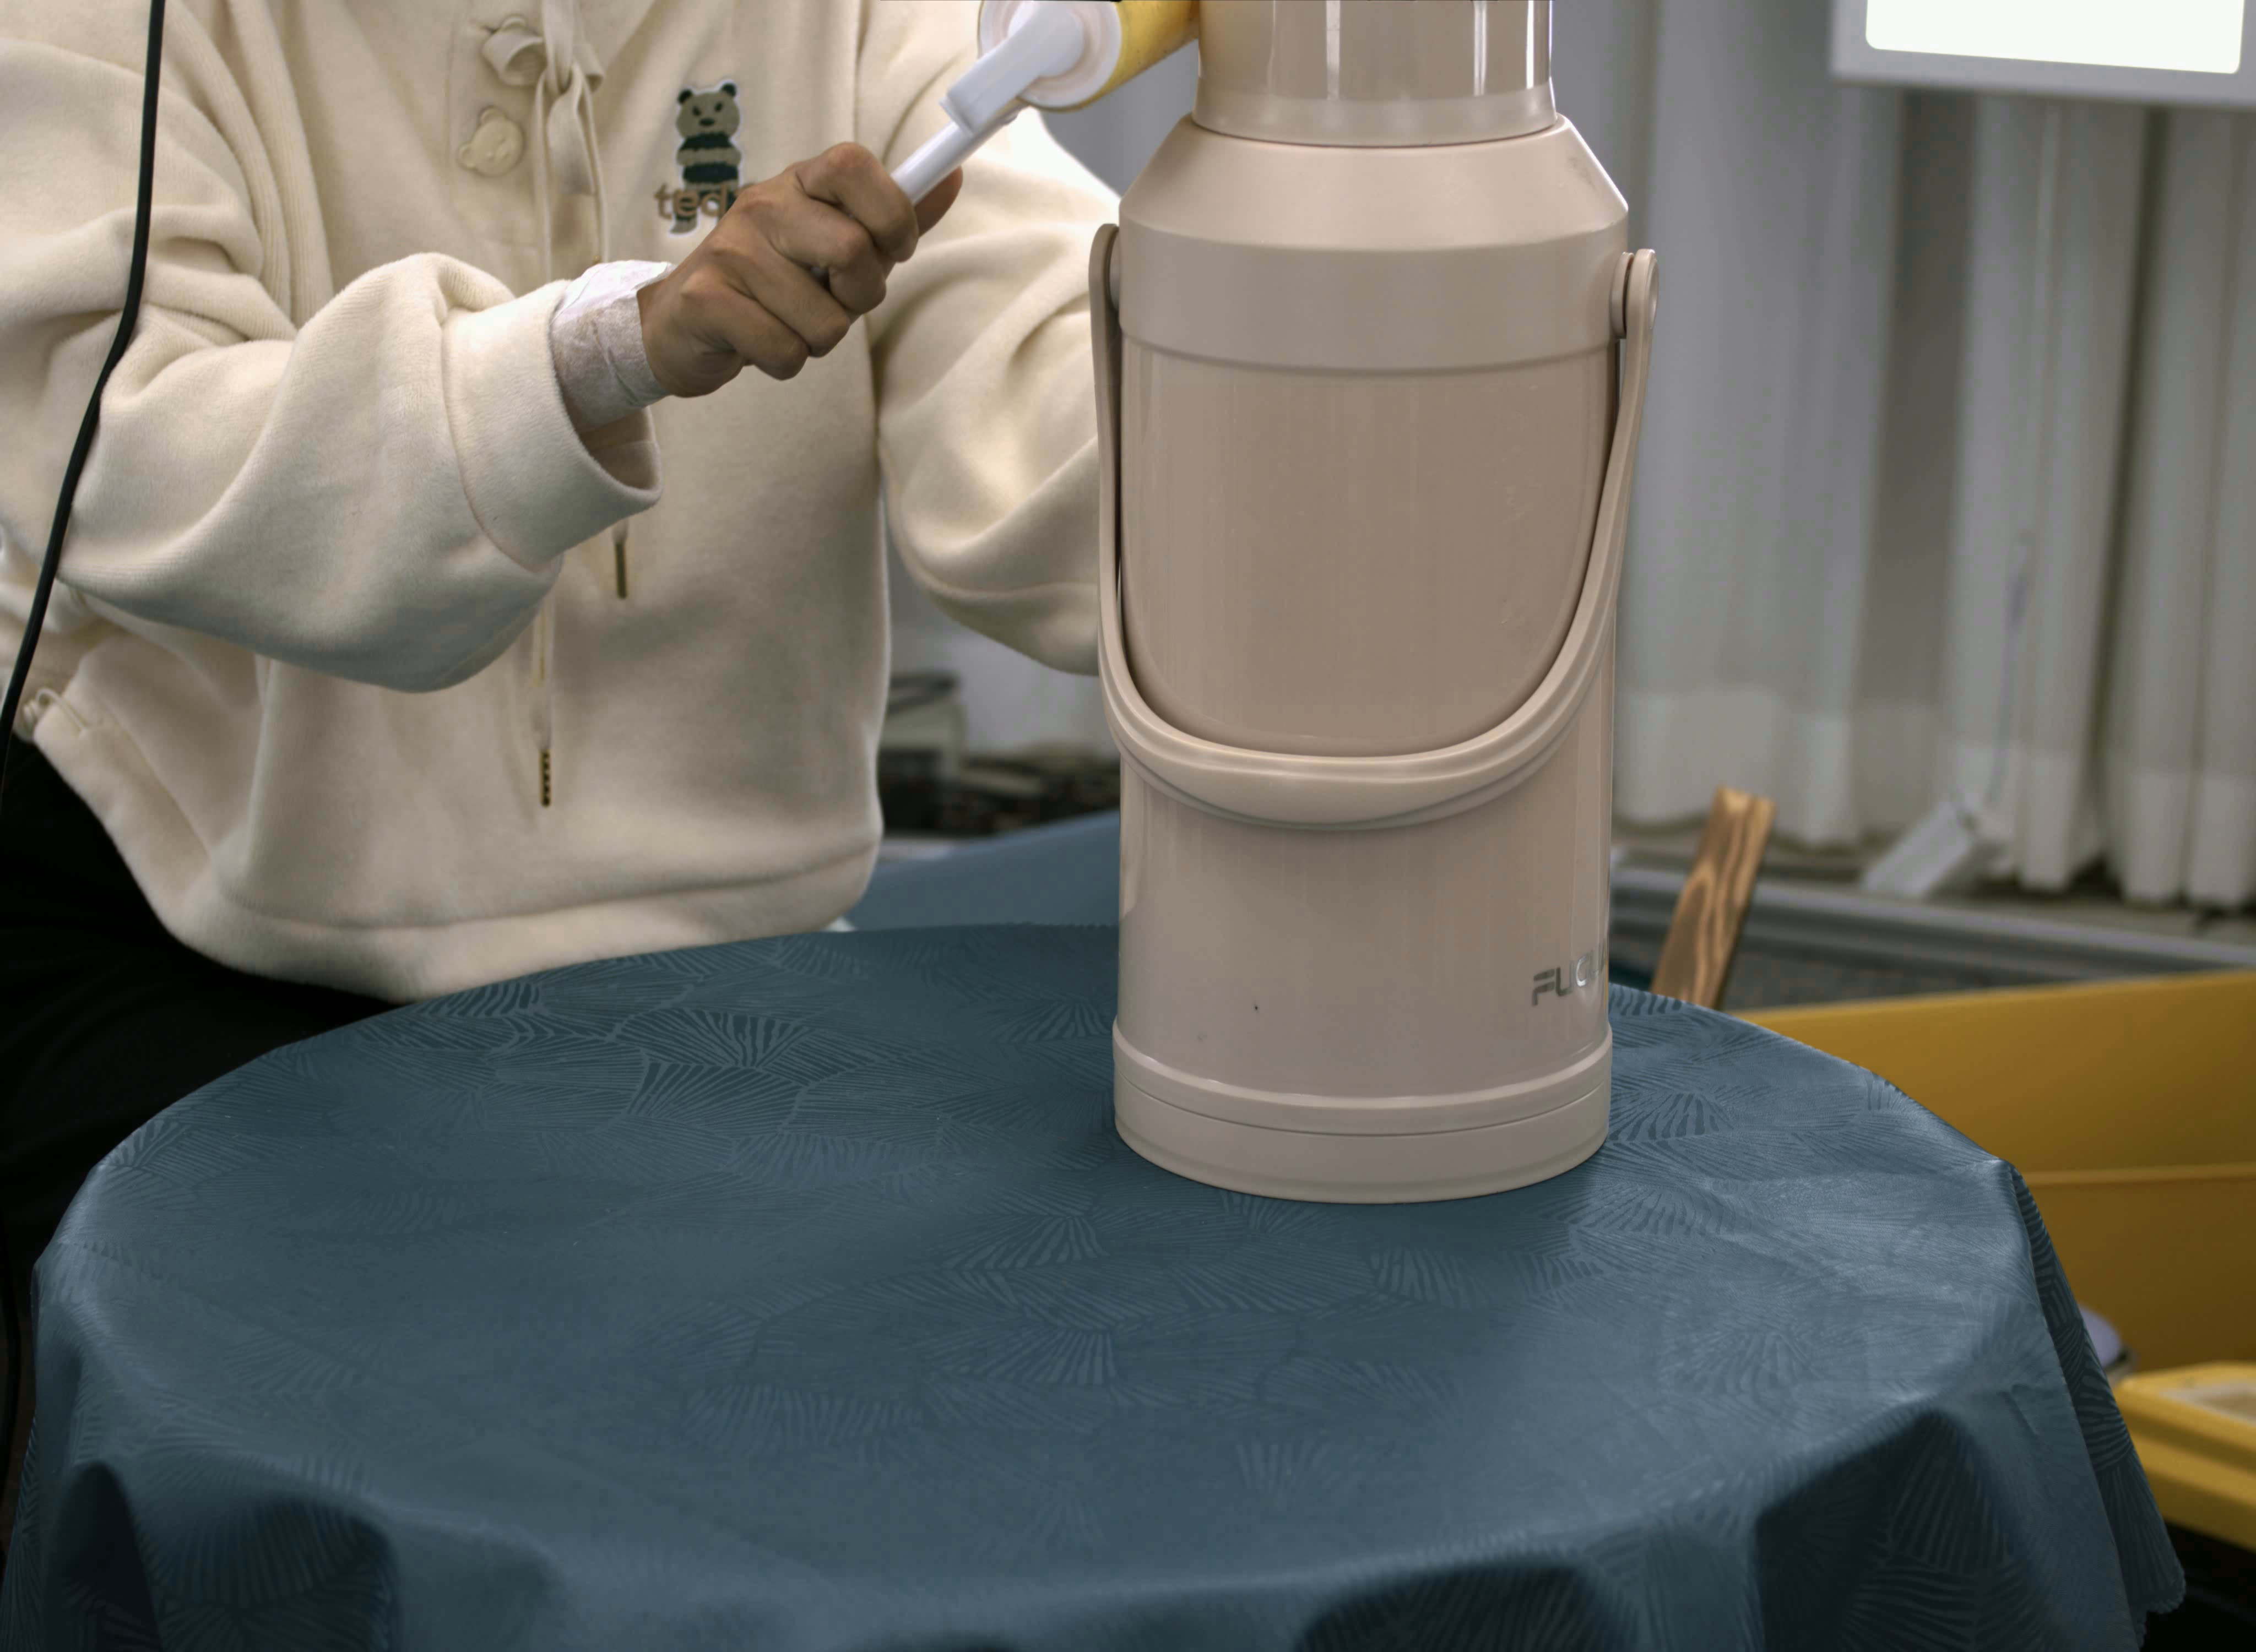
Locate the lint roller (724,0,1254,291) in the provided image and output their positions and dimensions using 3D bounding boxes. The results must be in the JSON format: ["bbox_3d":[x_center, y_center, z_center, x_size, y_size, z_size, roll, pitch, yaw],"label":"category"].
[{"bbox_3d":[-0.055,-0.229,1.632,0.191,0.052,0.174,-25,9,23],"label":"lint roller"}]

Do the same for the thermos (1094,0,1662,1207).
[{"bbox_3d":[0.080,-0.099,1.641,0.174,0.409,0.207,4,16,15],"label":"thermos"}]
